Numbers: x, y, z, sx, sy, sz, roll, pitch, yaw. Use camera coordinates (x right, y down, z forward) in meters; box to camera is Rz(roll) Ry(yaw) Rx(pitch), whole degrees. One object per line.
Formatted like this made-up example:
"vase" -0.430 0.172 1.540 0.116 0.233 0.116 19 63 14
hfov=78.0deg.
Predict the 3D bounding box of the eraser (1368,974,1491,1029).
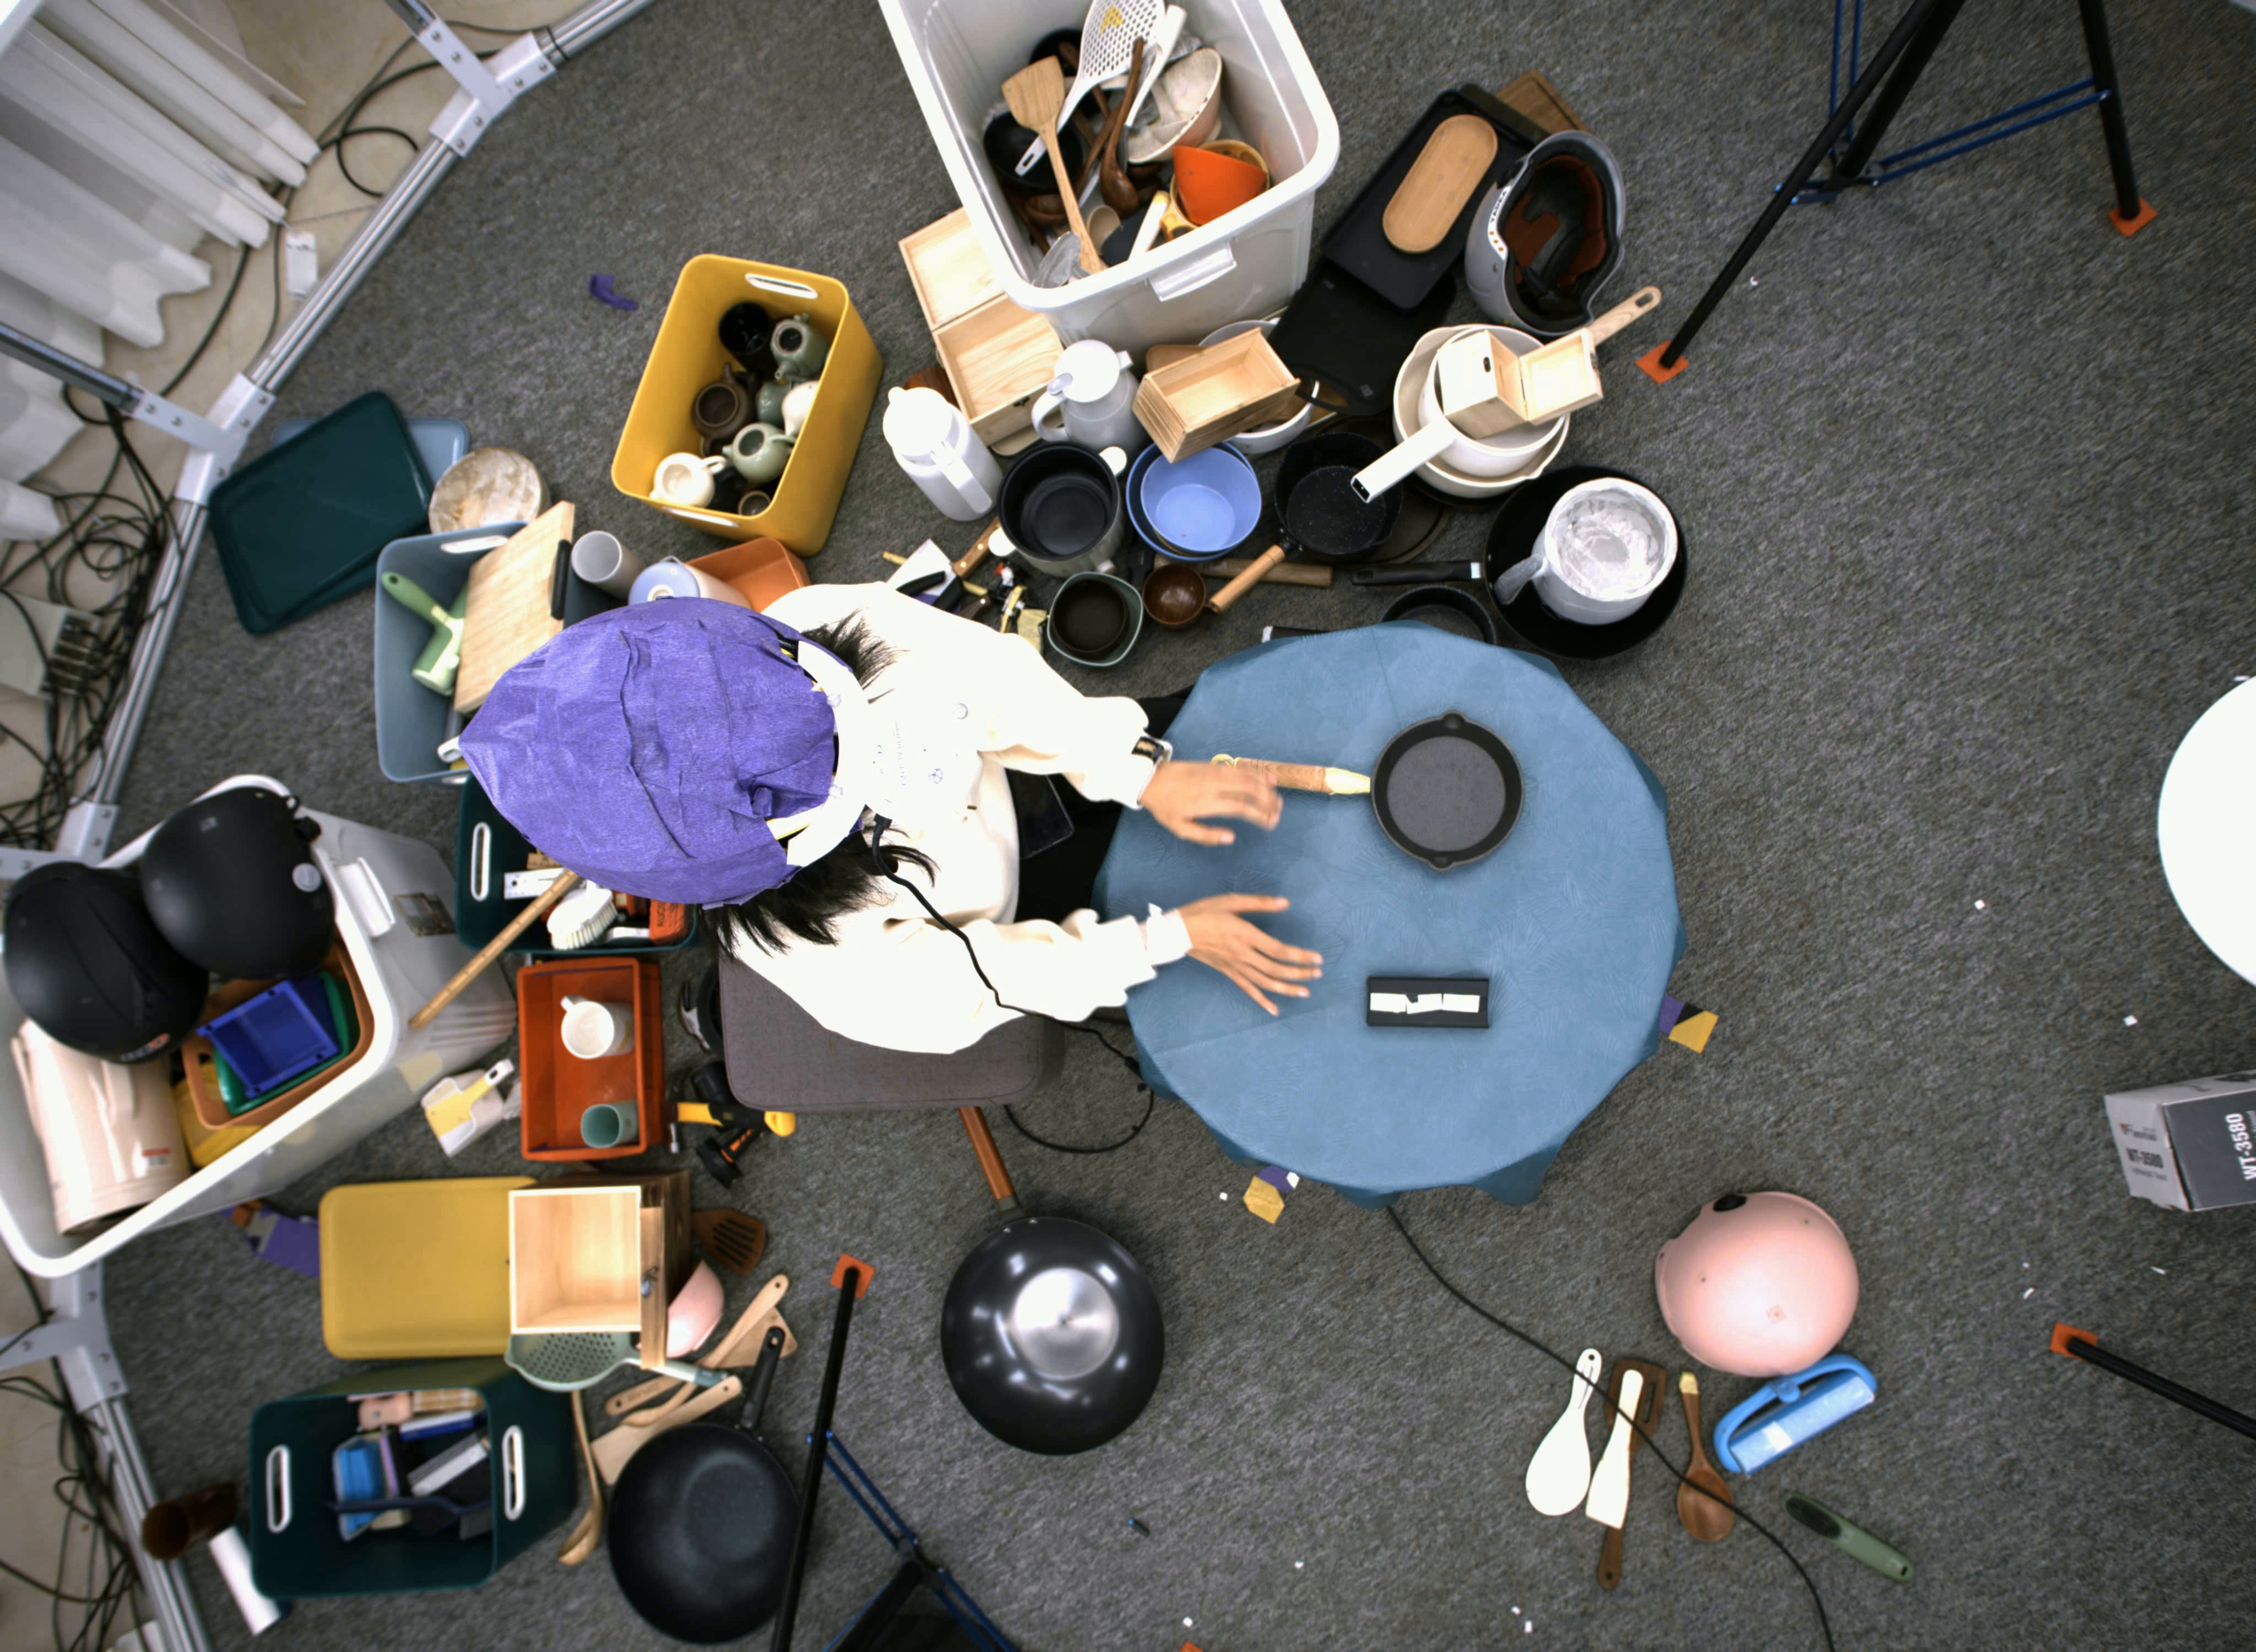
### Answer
"eraser" 0.312 0.180 1.433 0.126 0.030 0.053 0 85 12

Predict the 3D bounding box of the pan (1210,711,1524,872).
"pan" 0.248 -0.048 1.445 0.325 0.049 0.168 7 89 10
